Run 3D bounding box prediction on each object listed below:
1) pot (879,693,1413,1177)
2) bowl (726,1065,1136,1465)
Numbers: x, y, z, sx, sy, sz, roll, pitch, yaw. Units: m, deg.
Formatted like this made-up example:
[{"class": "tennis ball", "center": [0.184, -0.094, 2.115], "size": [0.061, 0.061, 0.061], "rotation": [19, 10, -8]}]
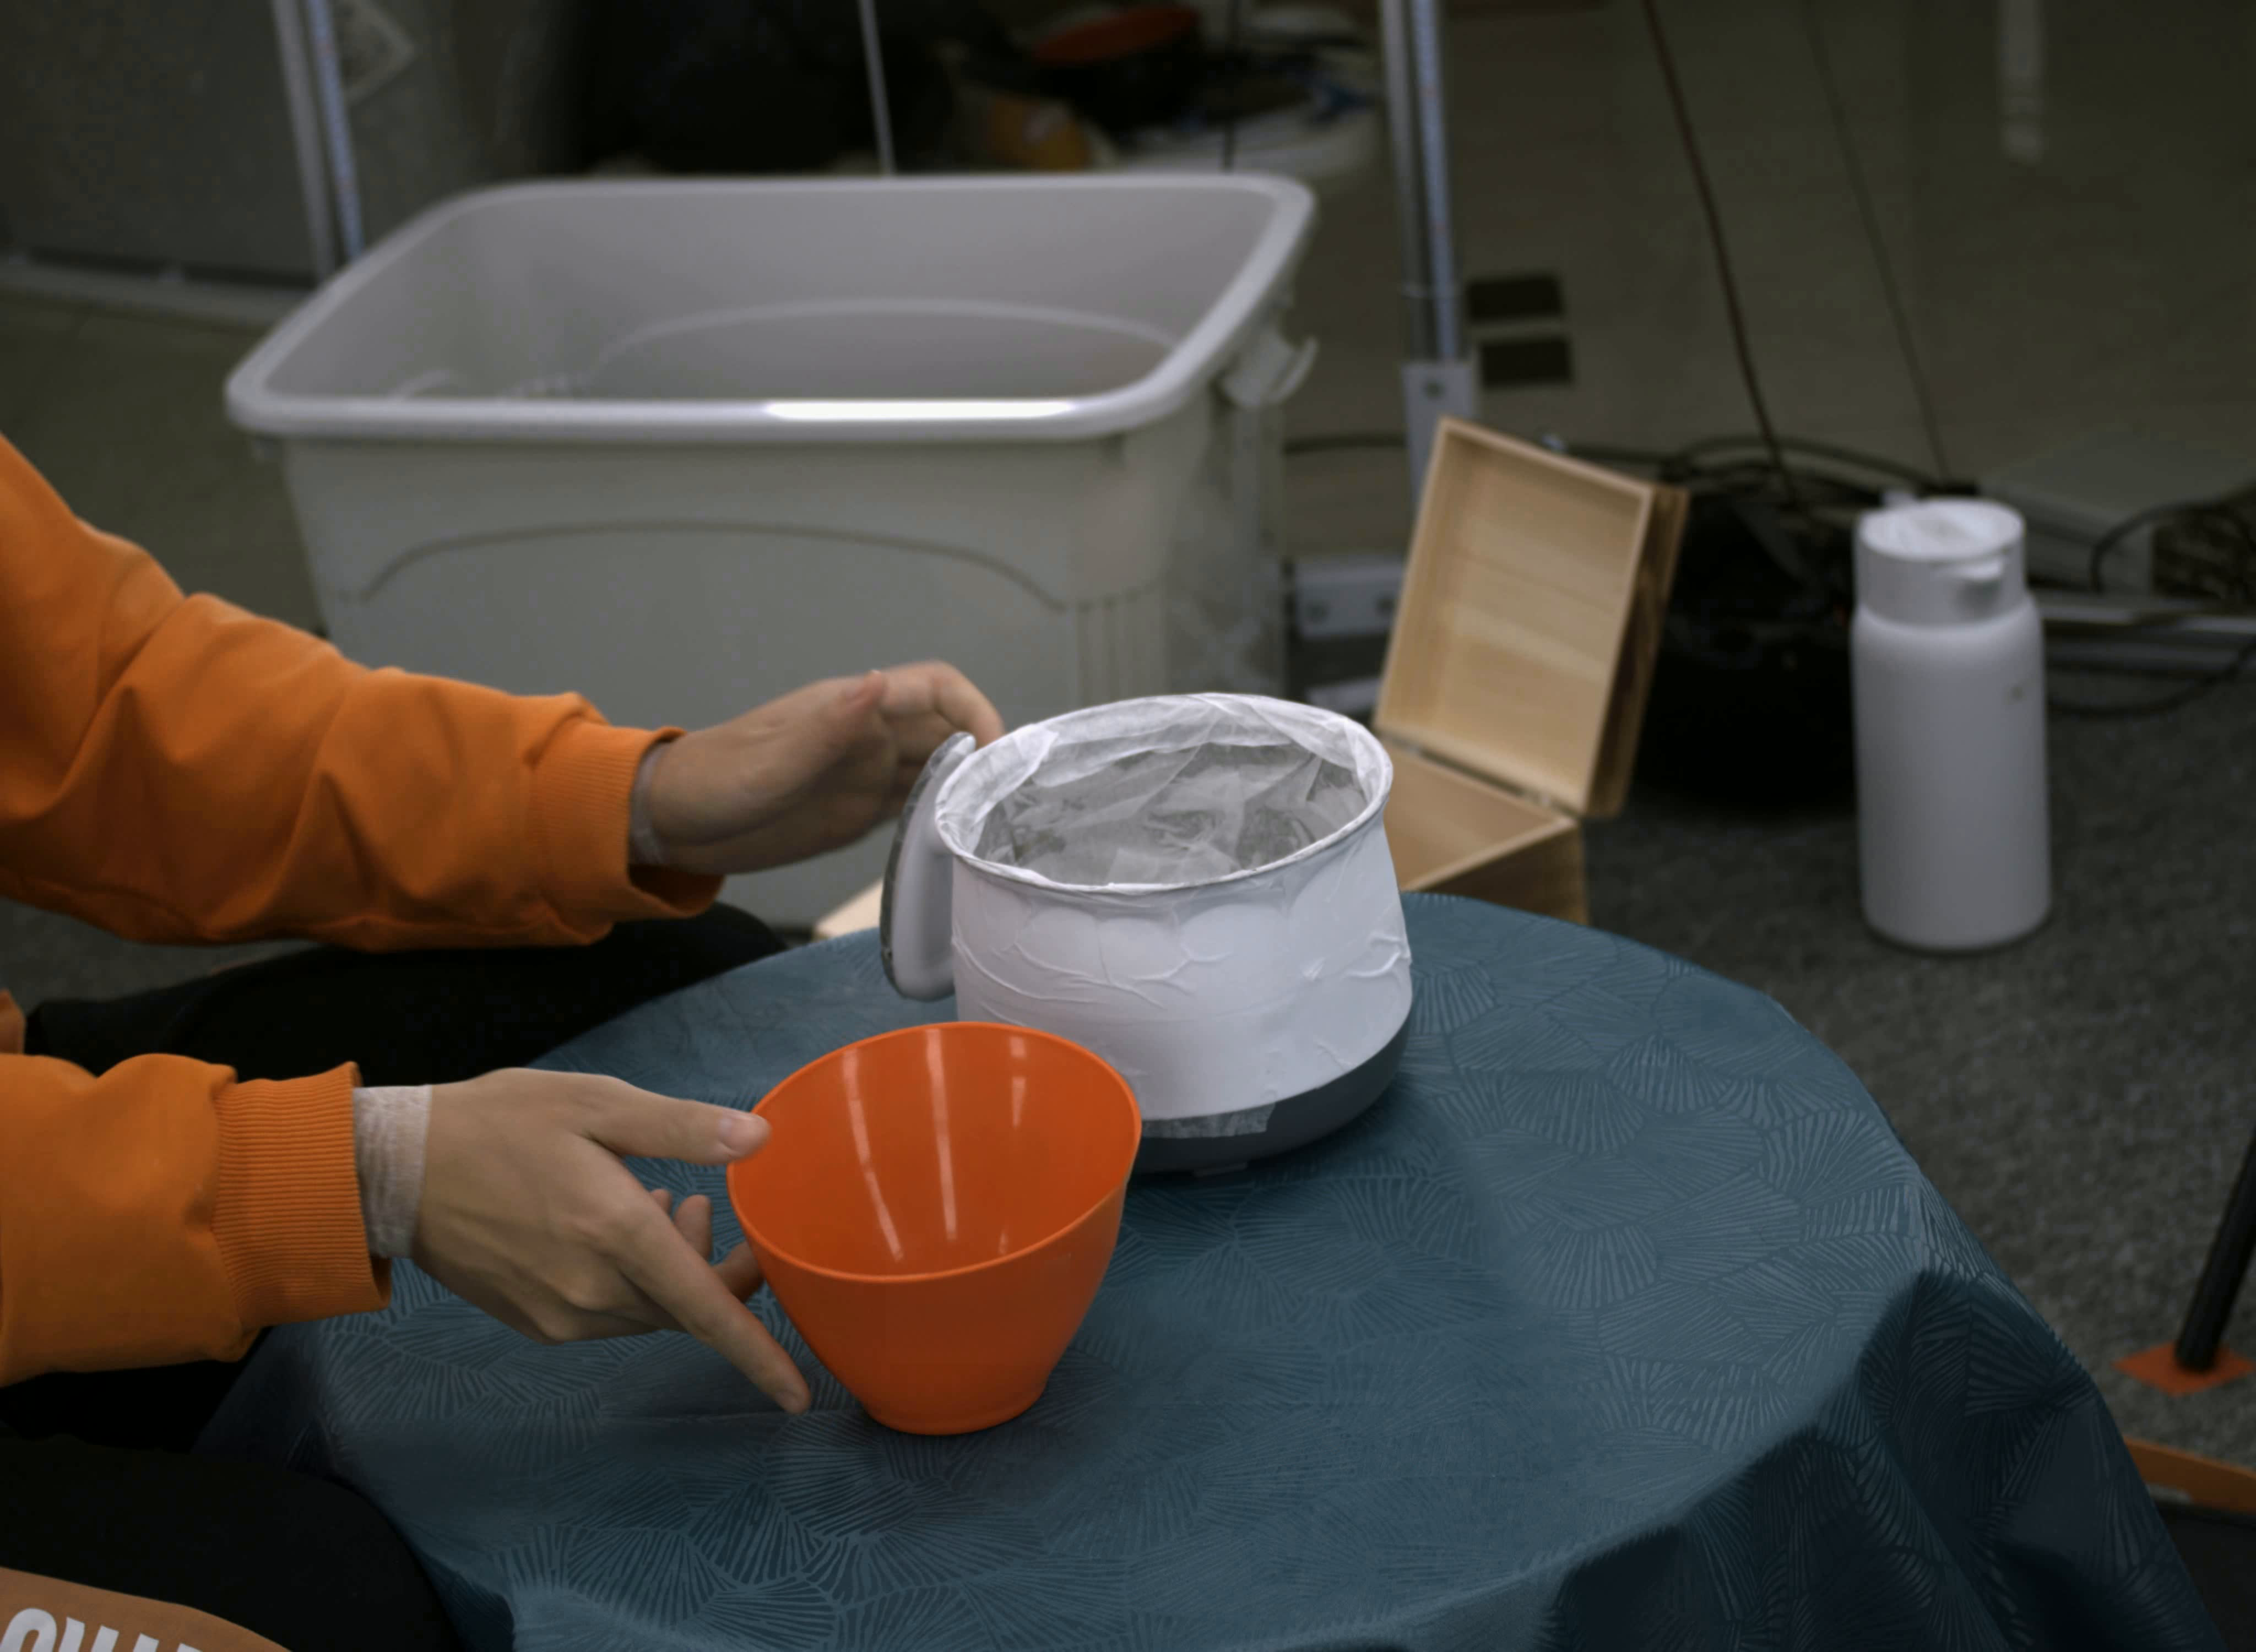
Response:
[{"class": "pot", "center": [-0.003, 0.038, 2.199], "size": [0.232, 0.139, 0.177], "rotation": [12, 31, 34]}, {"class": "bowl", "center": [-0.064, 0.161, 2.015], "size": [0.148, 0.106, 0.146], "rotation": [-7, 19, 3]}]
